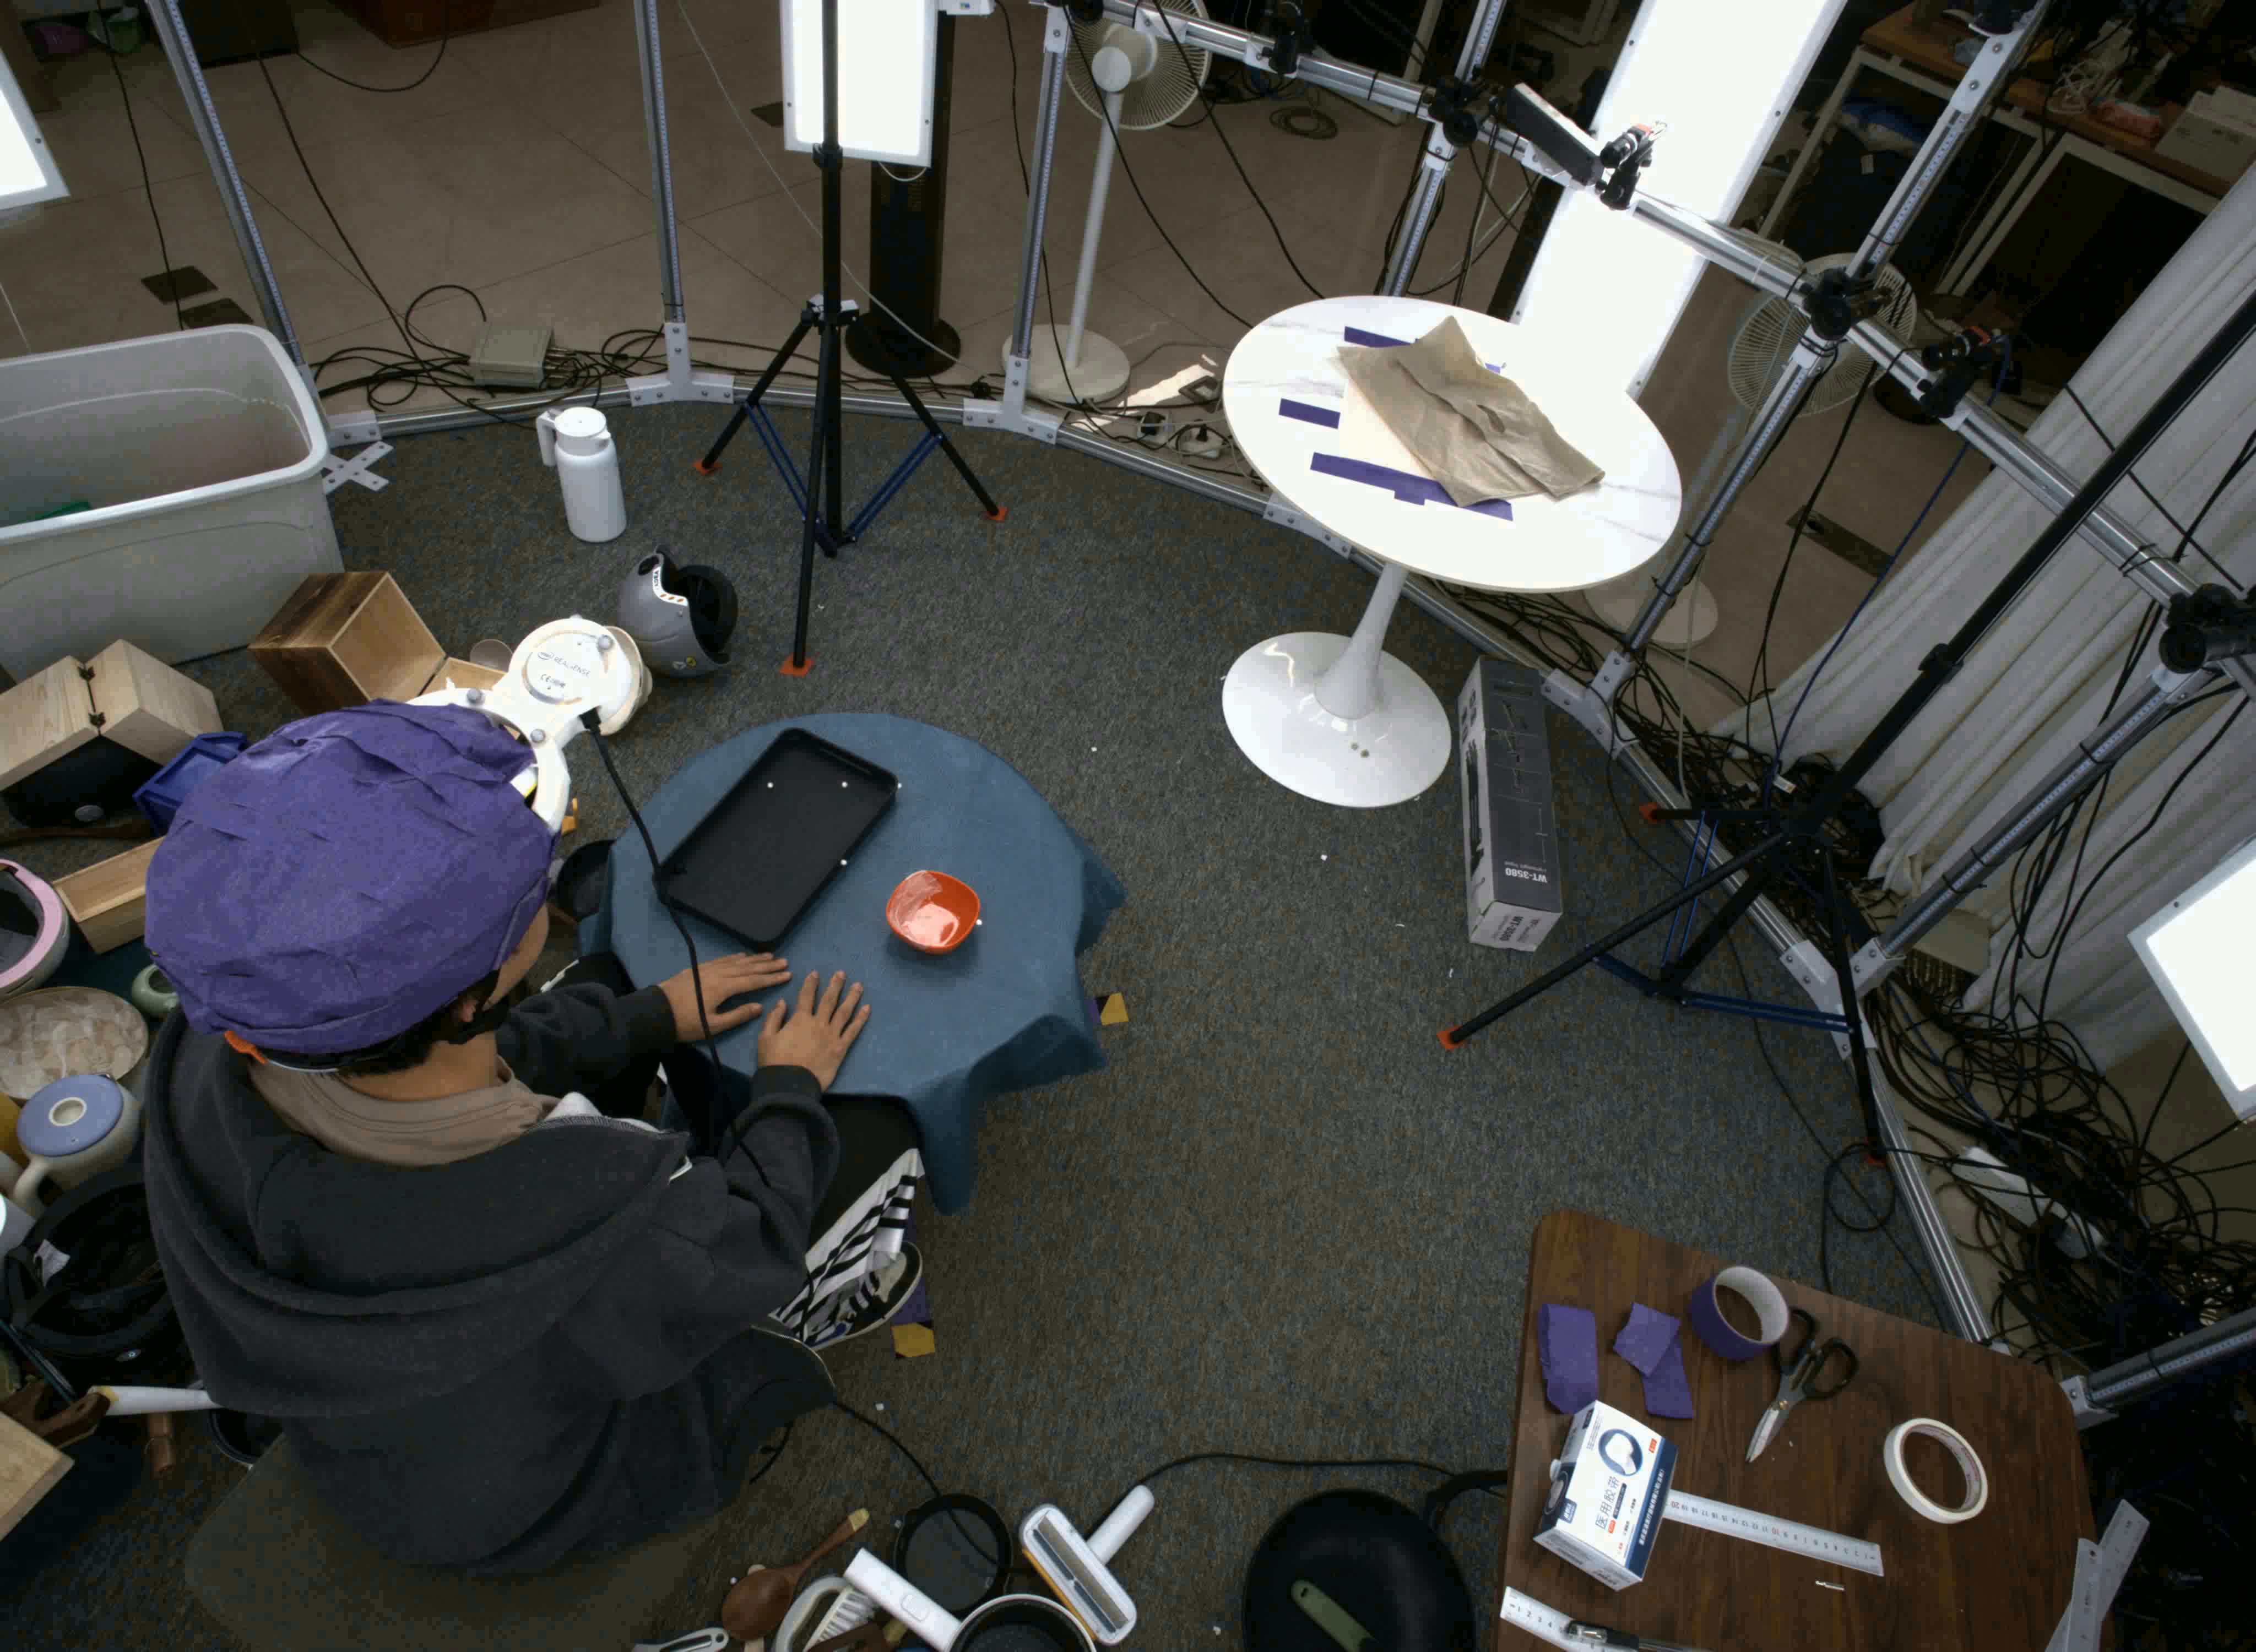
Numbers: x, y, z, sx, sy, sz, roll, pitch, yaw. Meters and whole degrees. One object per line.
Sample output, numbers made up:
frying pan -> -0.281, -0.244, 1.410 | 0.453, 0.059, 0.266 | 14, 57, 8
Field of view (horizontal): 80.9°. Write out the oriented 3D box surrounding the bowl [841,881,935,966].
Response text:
bowl -> -0.301, 0.129, 1.629 | 0.119, 0.052, 0.117 | 9, 50, -9

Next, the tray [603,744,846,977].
tray -> -0.511, 0.035, 1.655 | 0.182, 0.038, 0.315 | 24, 51, 4
